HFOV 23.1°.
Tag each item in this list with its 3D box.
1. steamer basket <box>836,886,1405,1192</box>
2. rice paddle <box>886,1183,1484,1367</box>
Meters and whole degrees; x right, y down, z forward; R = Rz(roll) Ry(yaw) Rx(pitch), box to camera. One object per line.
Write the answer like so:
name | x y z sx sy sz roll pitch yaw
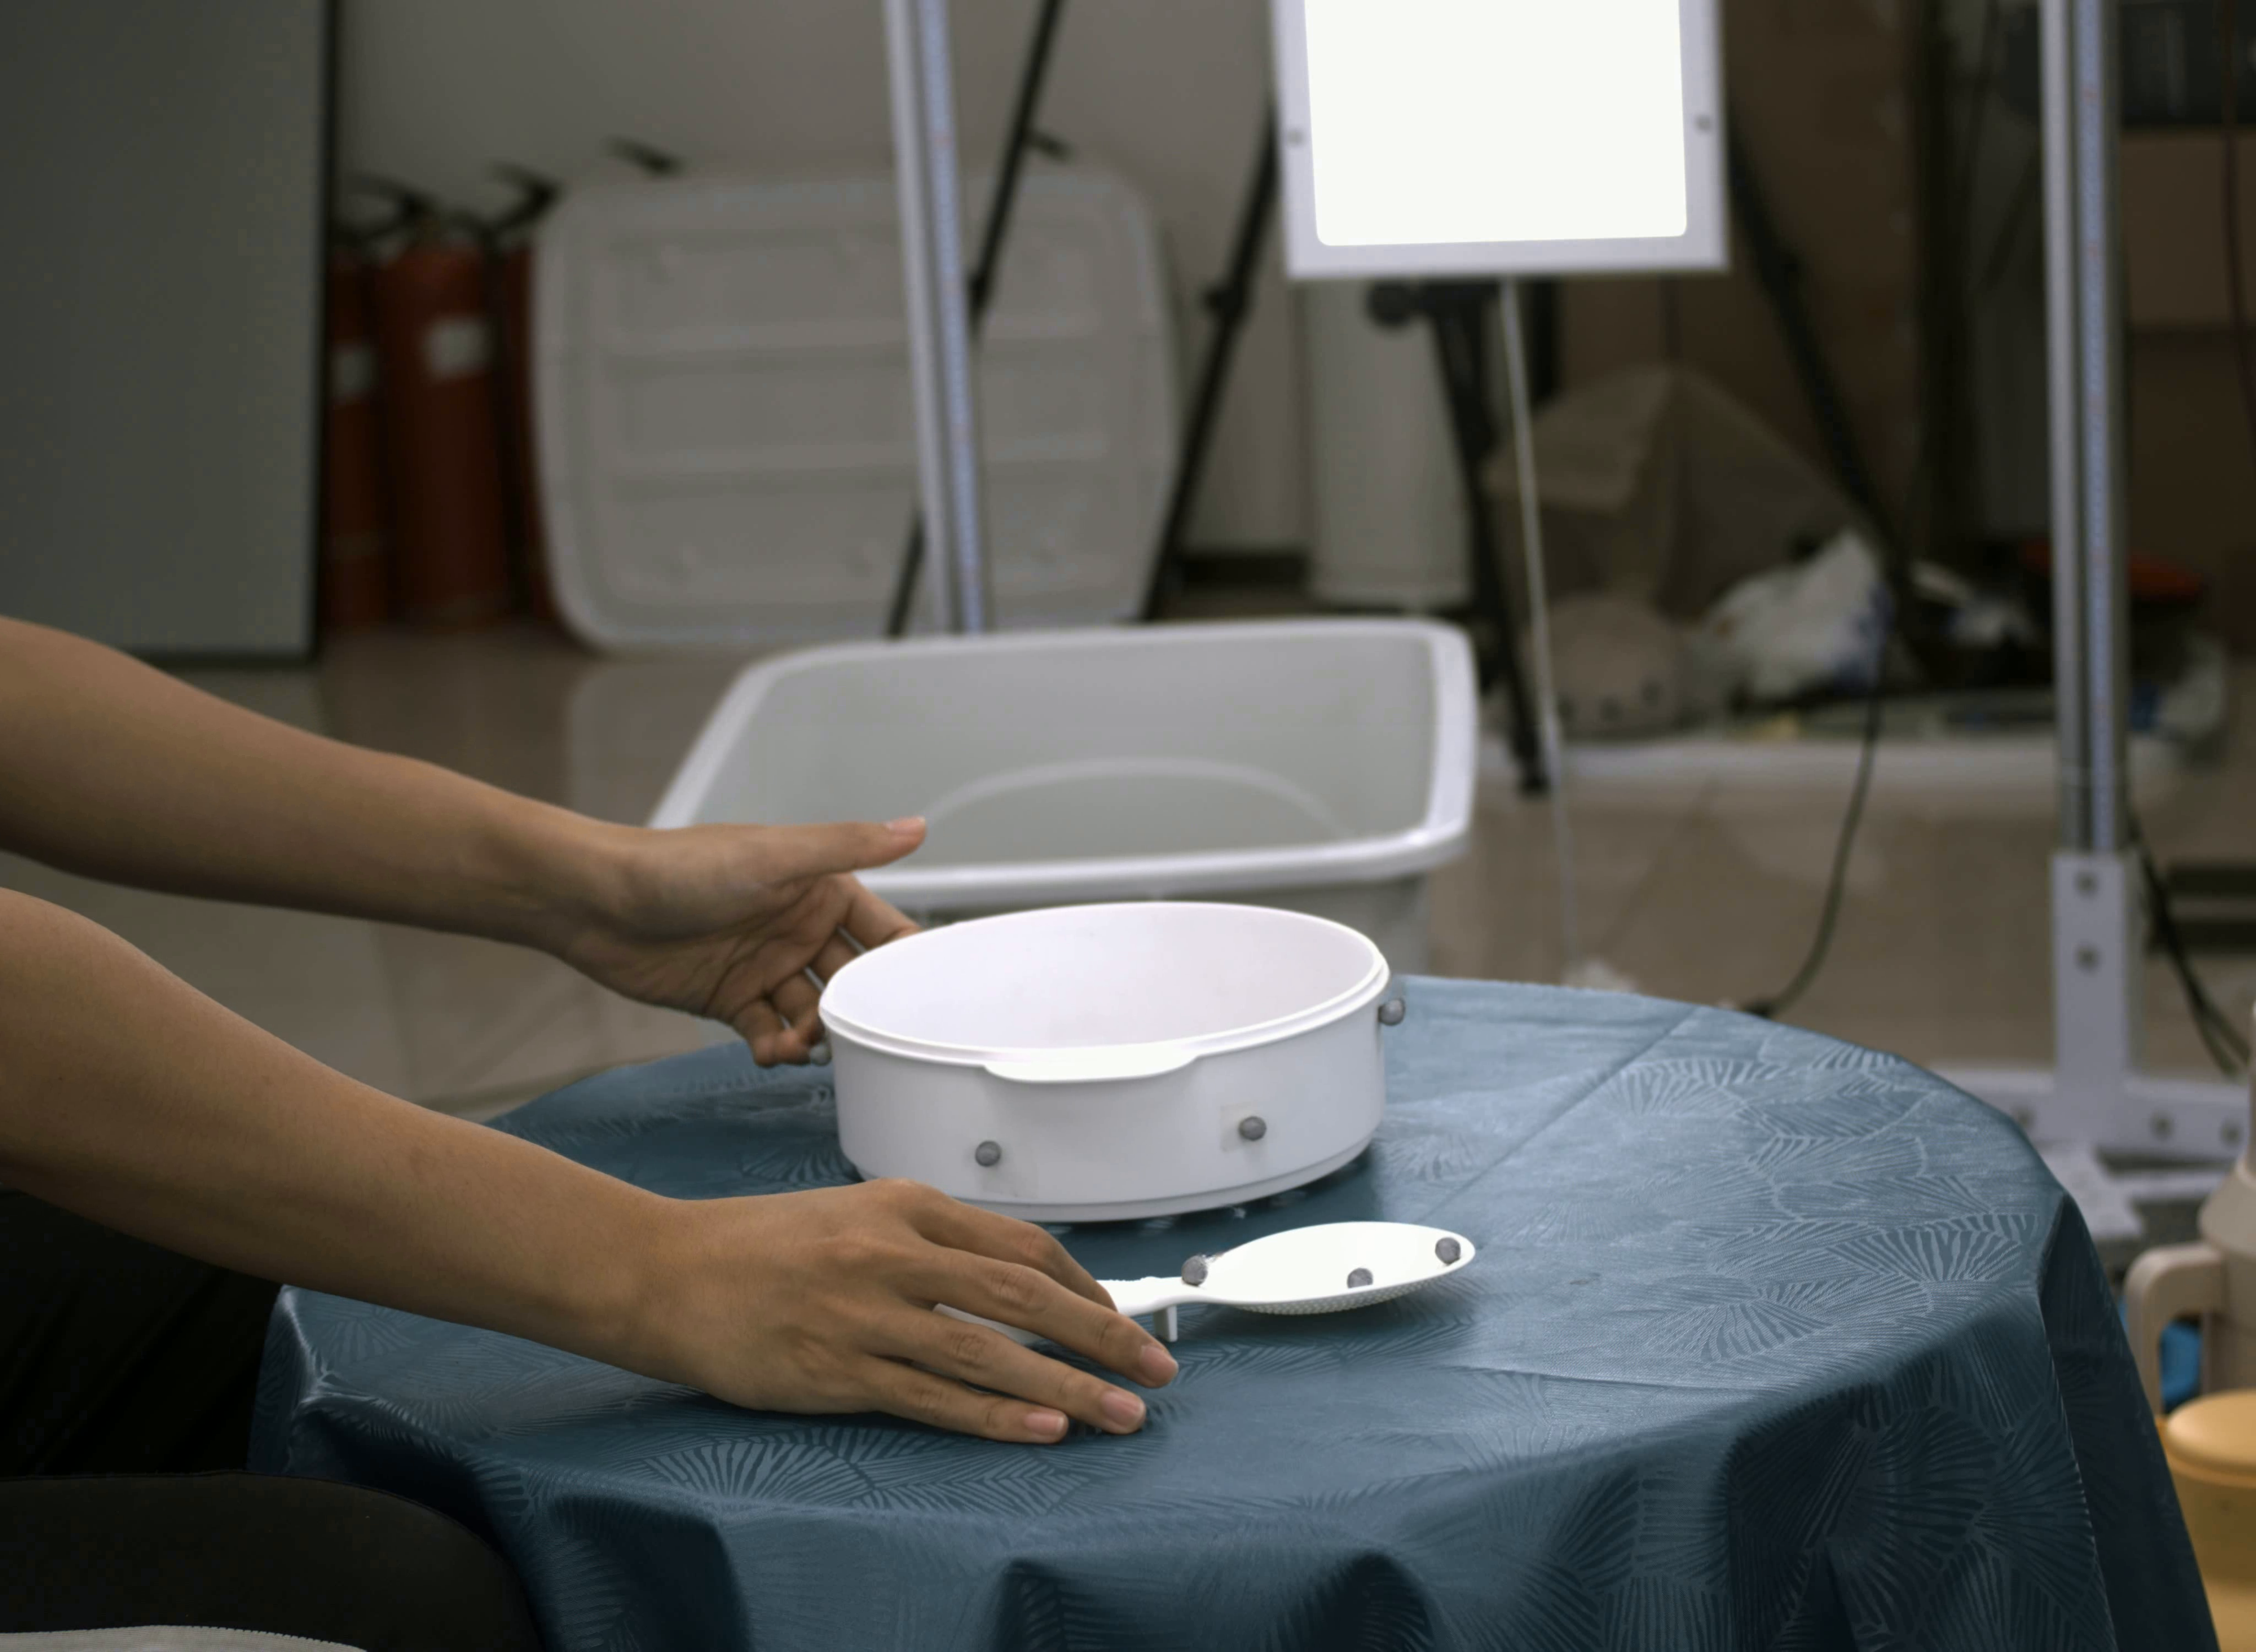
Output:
steamer basket | -0.001 0.075 1.945 0.202 0.069 0.229 -3 12 5
rice paddle | 0.021 0.136 1.756 0.201 0.029 0.070 -10 16 -22
